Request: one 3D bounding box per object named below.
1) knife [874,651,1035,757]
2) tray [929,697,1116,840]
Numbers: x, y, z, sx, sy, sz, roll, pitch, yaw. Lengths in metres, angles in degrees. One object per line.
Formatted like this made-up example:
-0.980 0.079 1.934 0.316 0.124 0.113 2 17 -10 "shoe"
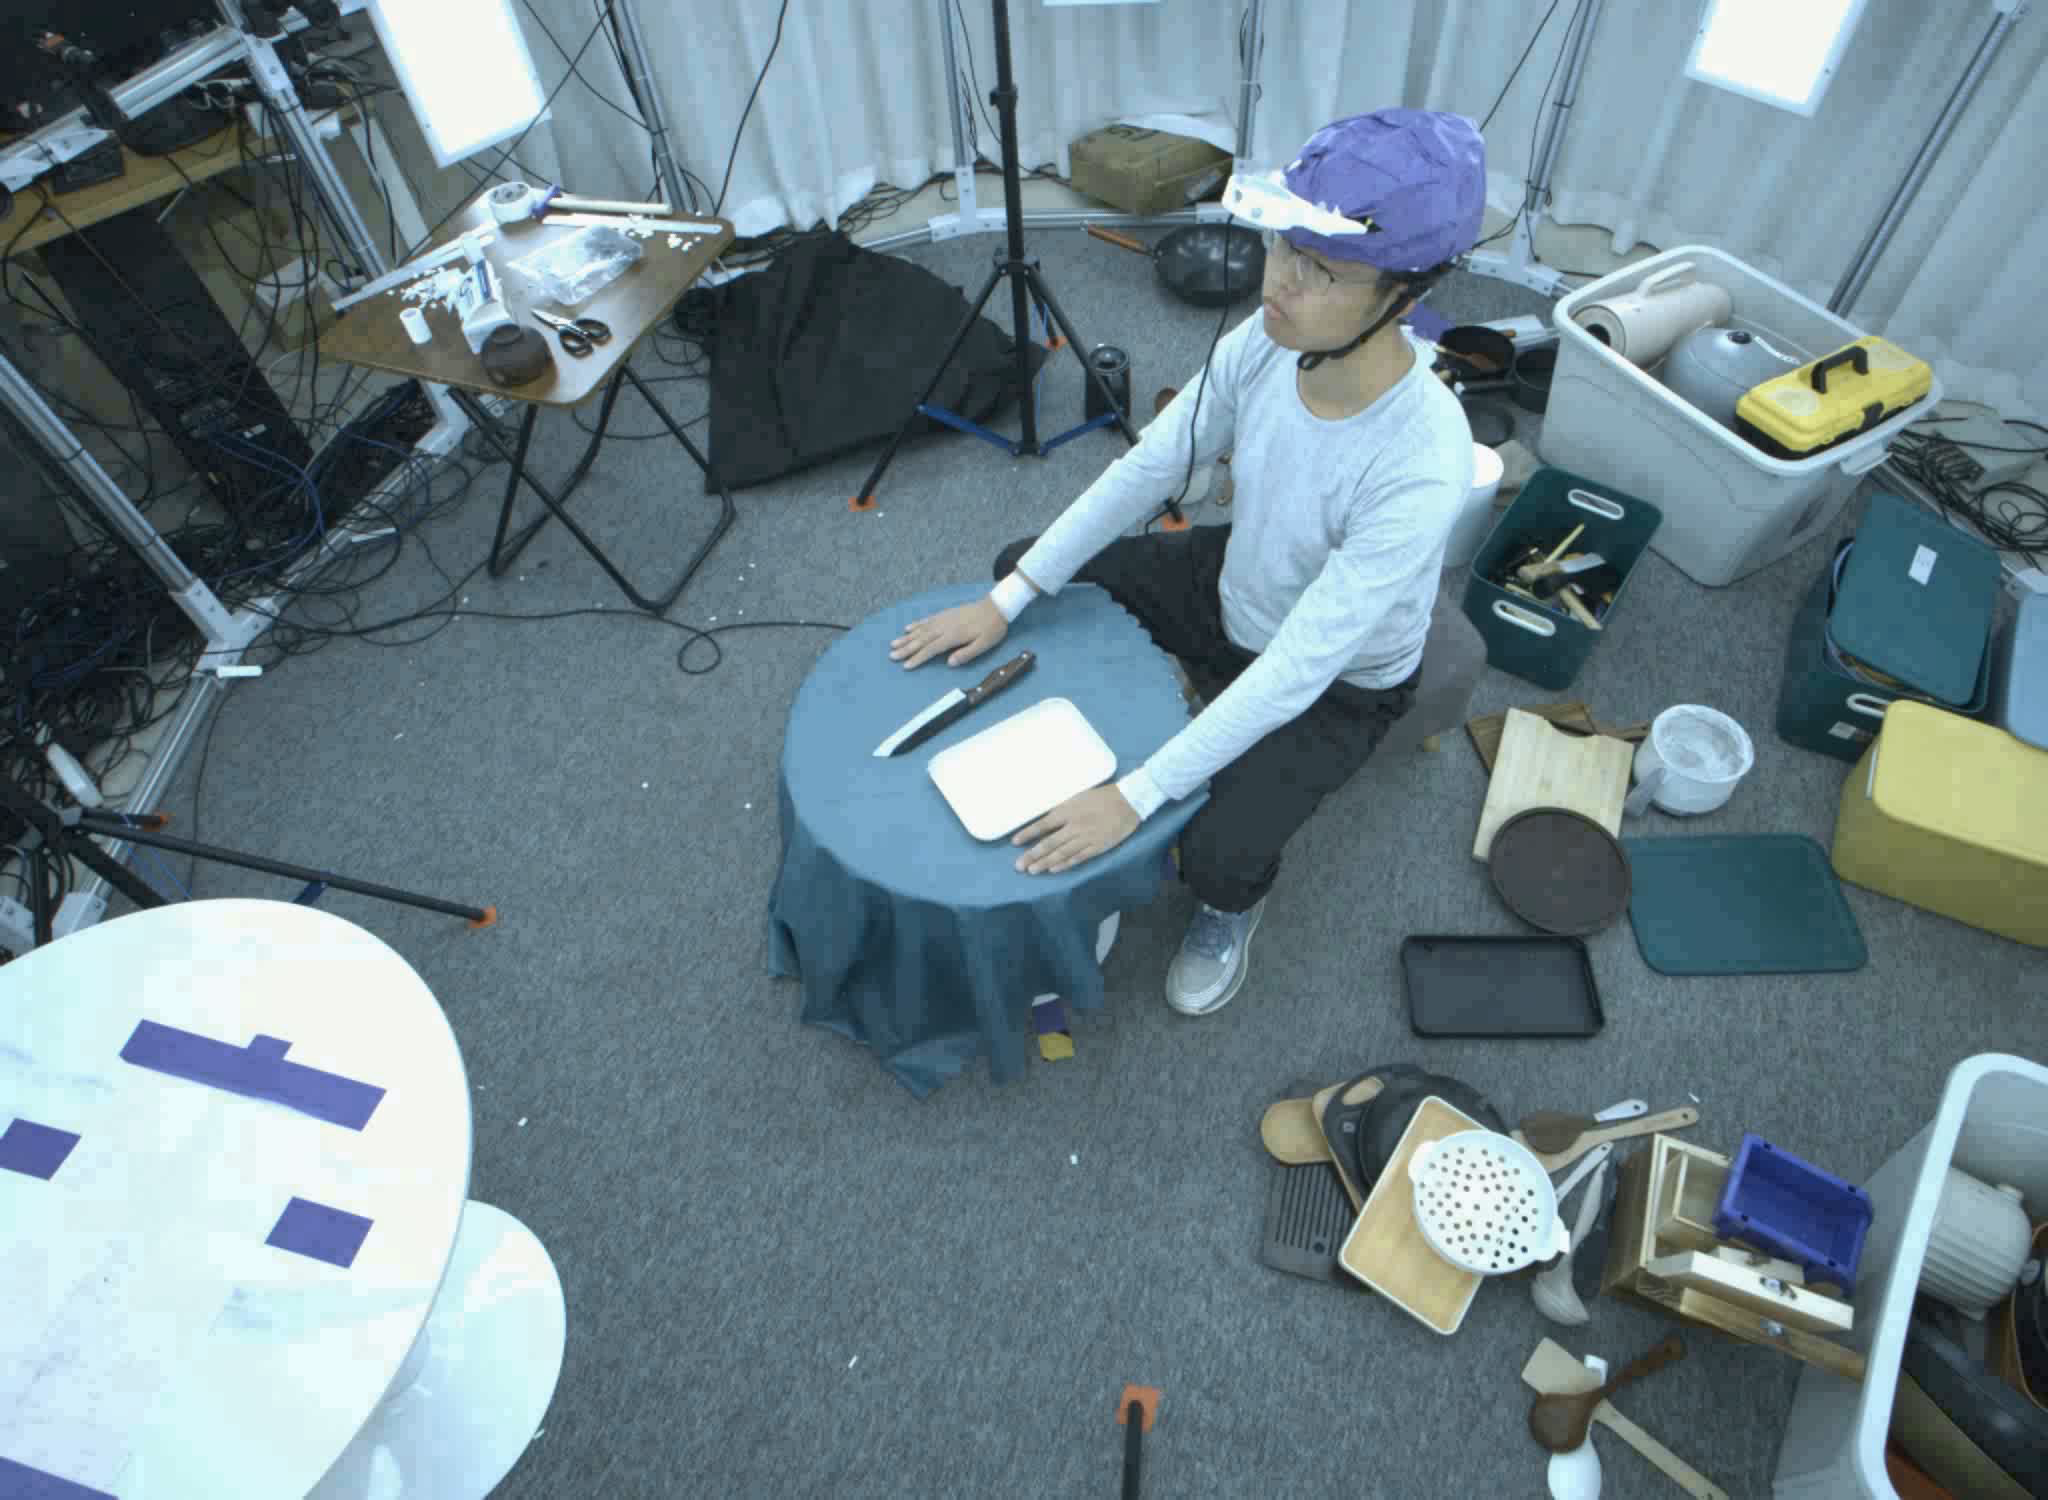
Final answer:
-0.103 -0.068 1.837 0.291 0.020 0.049 -34 55 -18 "knife"
-0.002 0.026 1.766 0.241 0.017 0.168 -27 58 -17 "tray"
